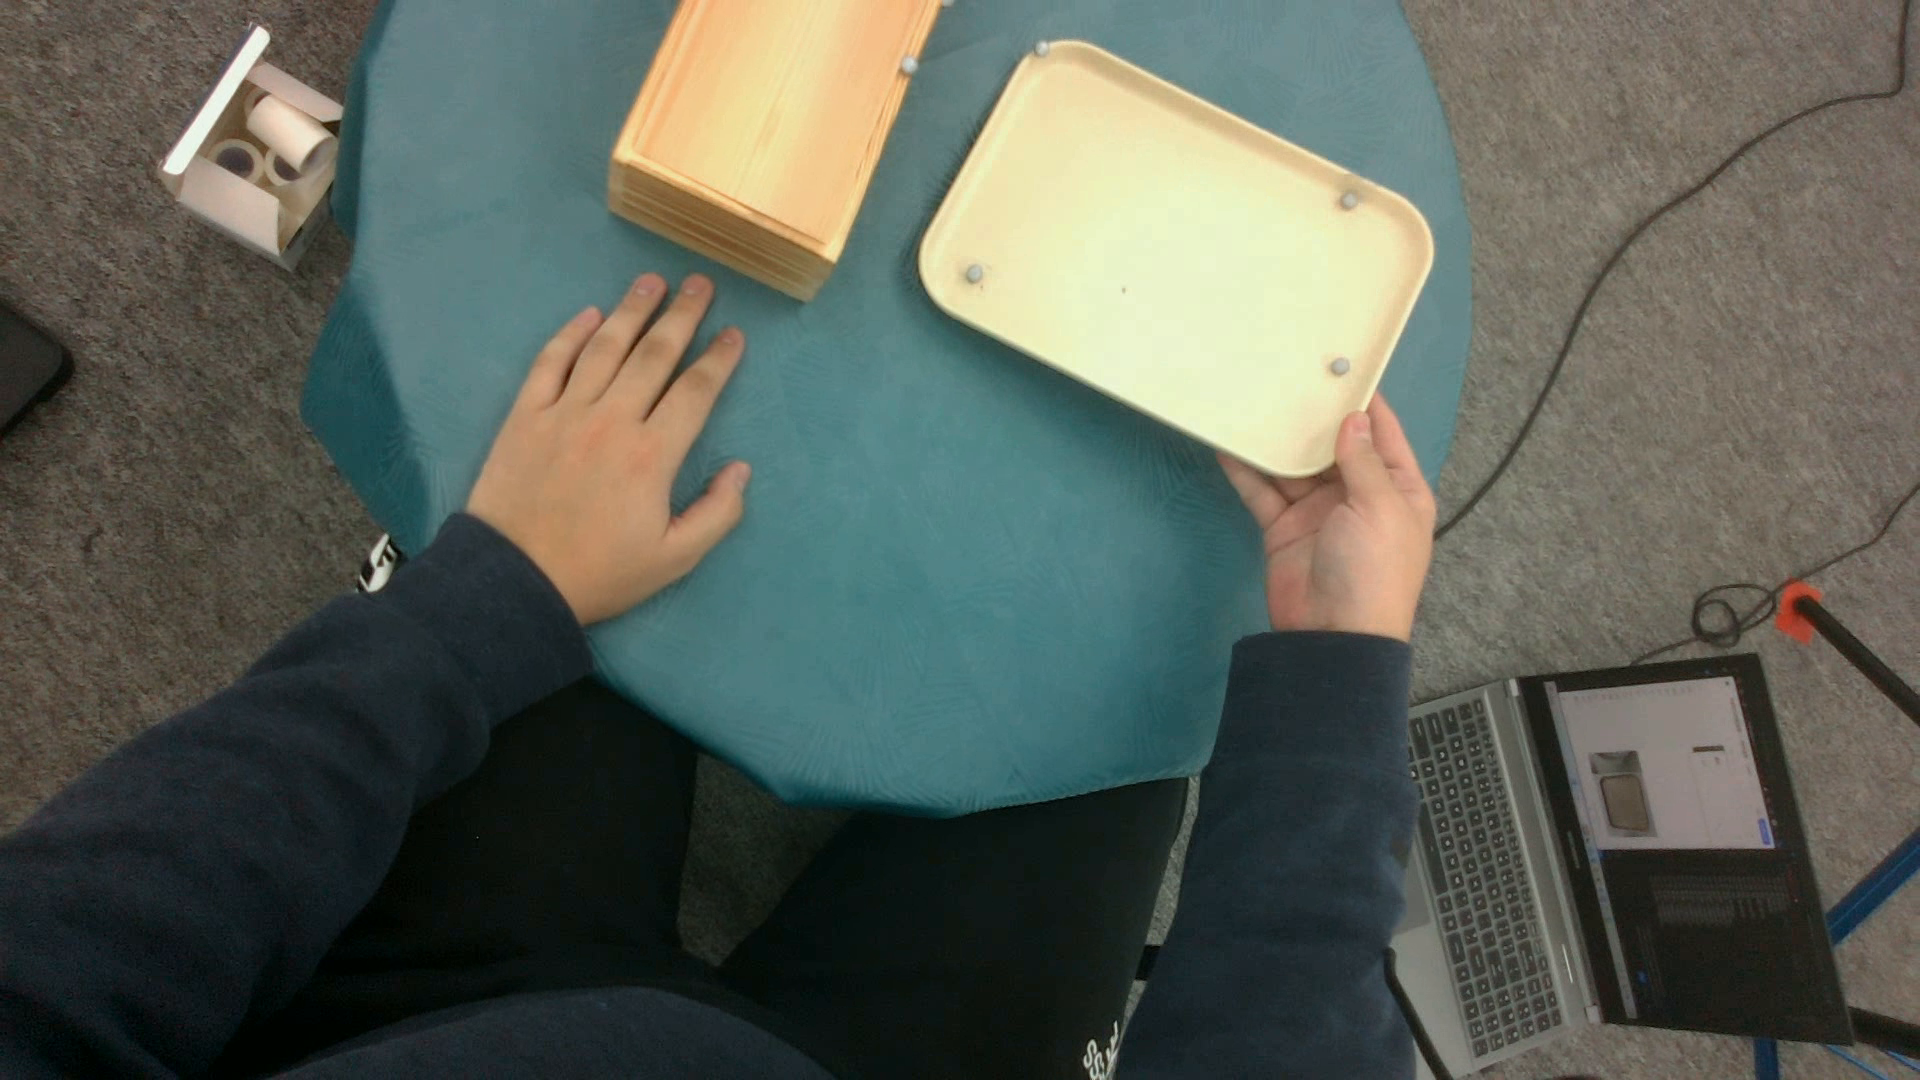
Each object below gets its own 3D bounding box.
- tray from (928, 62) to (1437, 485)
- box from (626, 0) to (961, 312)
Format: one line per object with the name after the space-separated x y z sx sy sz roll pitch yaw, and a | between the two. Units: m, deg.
0.116 -0.141 0.723 0.239 0.017 0.171 27 77 5 | tray
-0.072 -0.235 0.678 0.107 0.080 0.212 23 80 -12 | box
